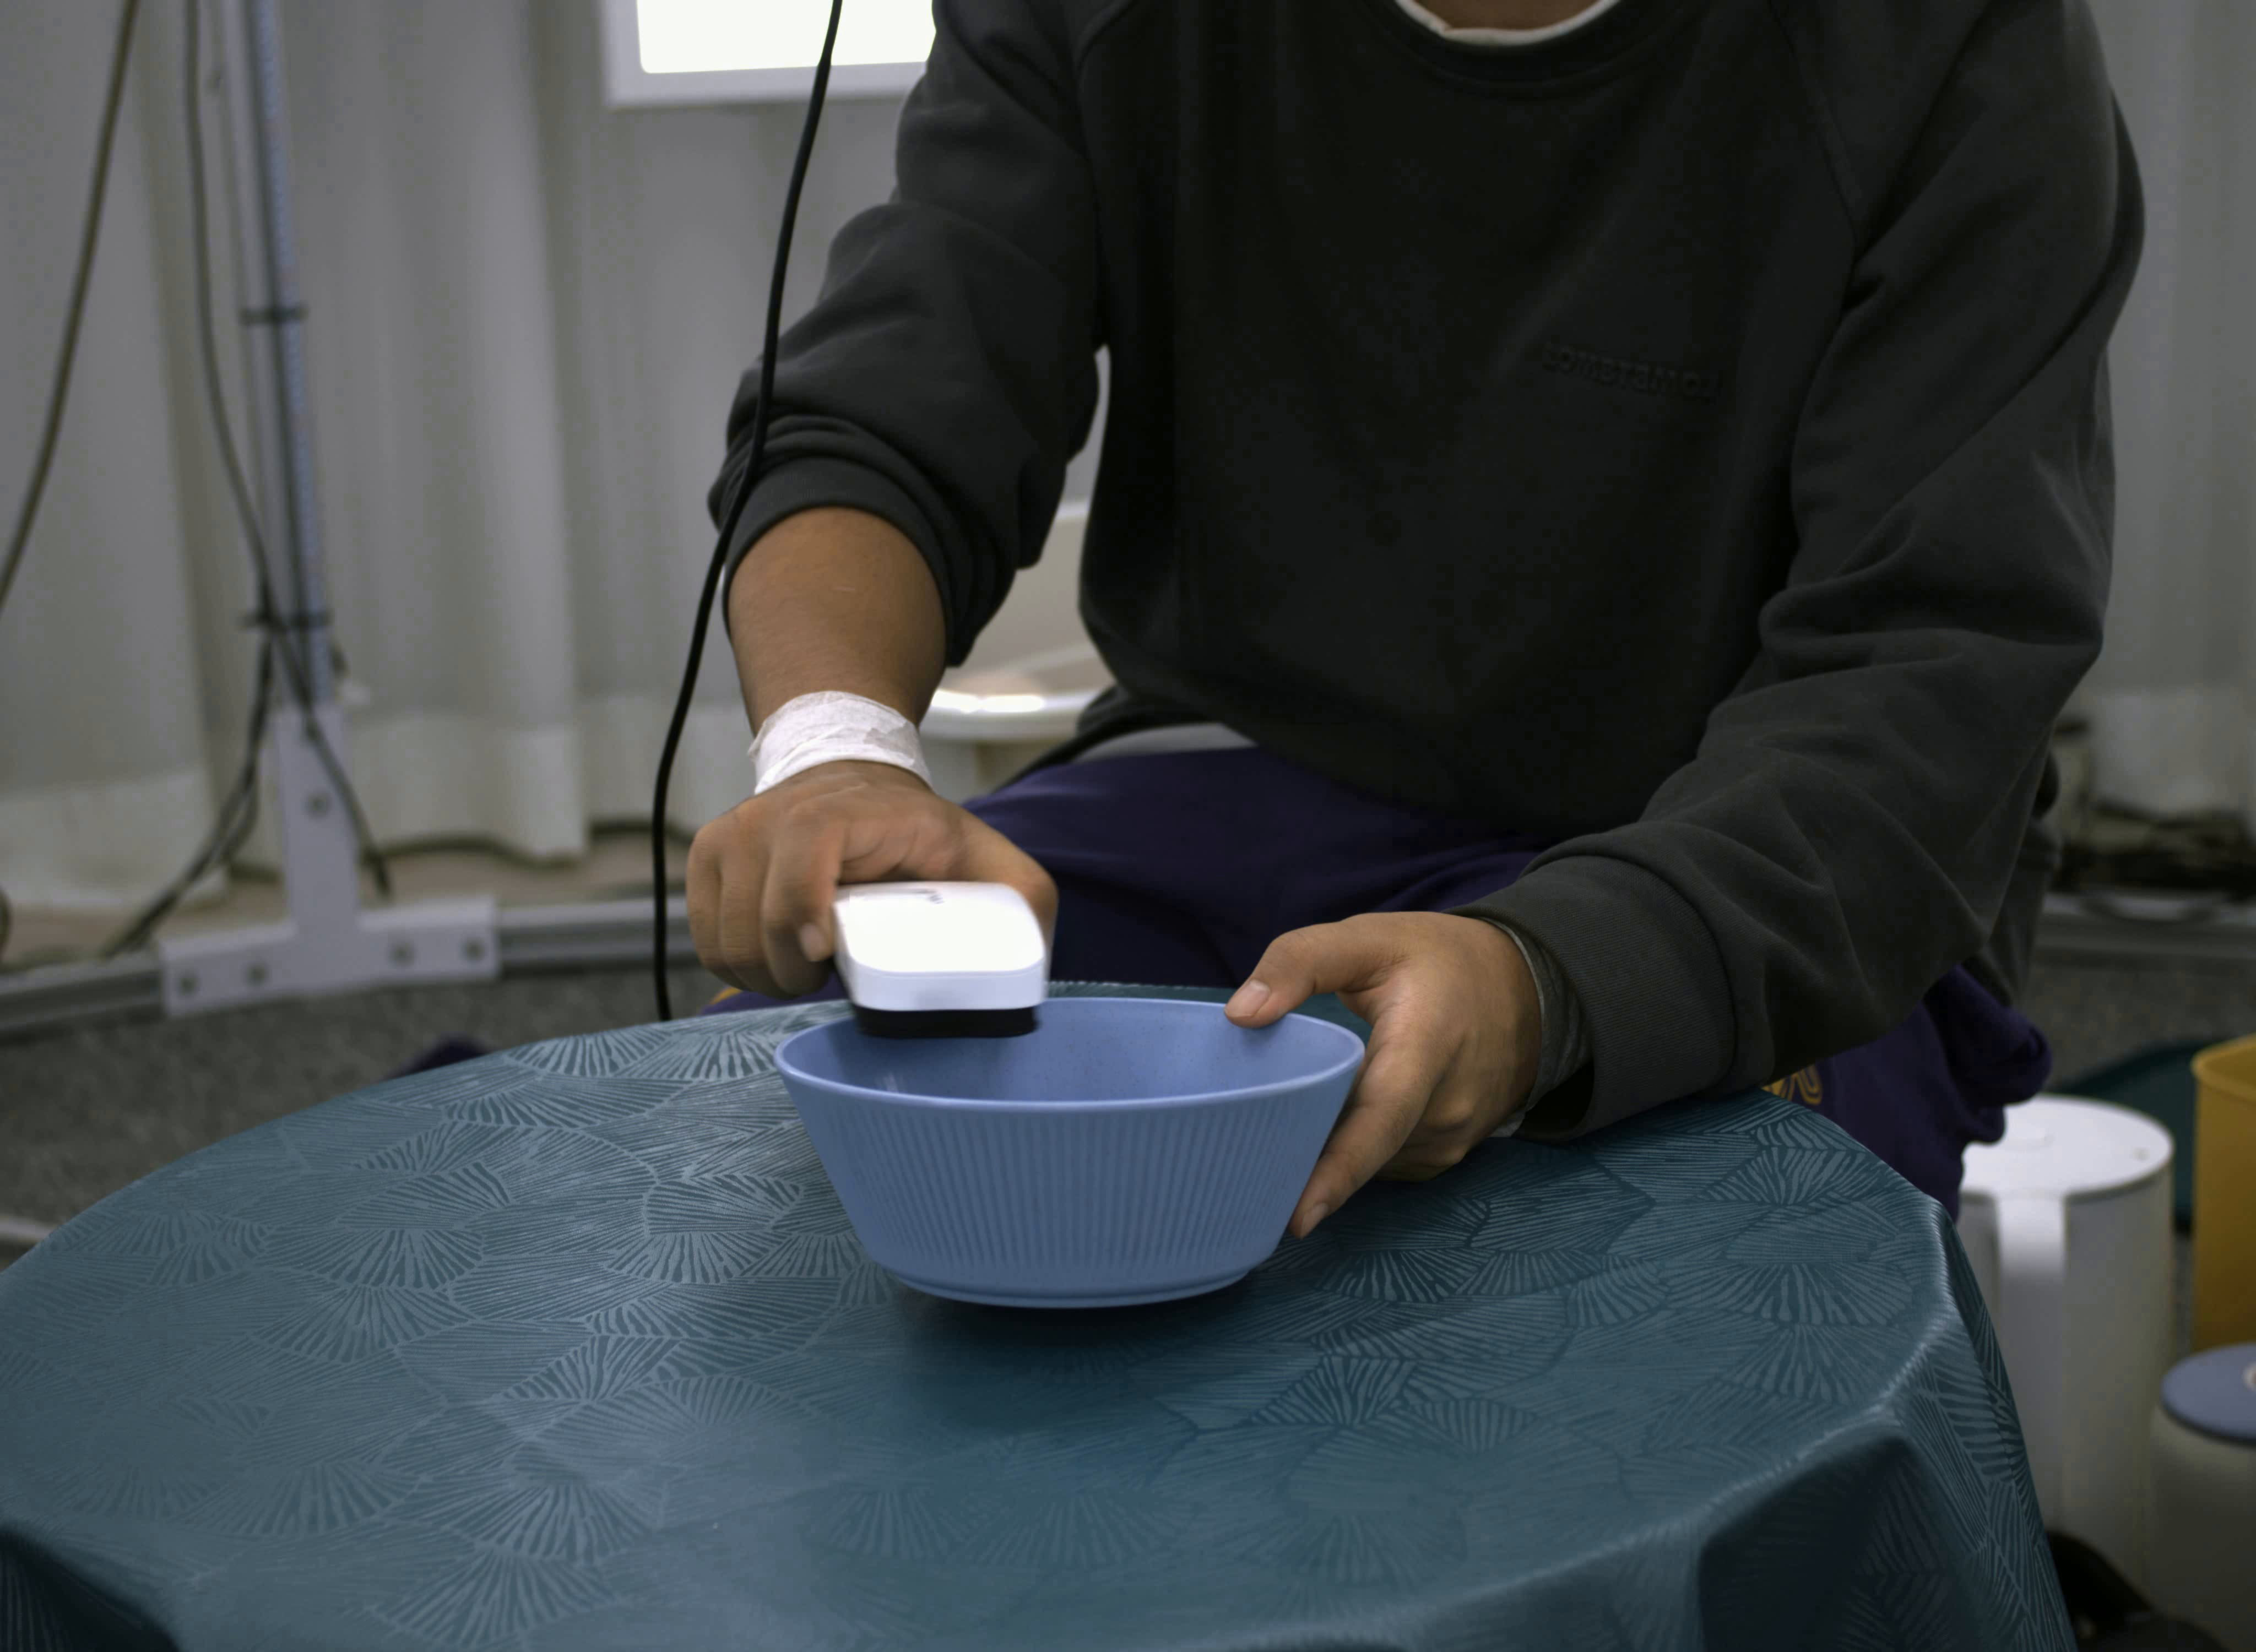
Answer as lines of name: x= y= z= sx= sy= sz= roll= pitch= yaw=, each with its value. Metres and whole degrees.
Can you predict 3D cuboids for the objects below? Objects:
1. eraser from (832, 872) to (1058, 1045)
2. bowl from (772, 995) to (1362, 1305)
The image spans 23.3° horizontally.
eraser: x=-0.057 y=0.037 z=1.706 sx=0.063 sy=0.034 sz=0.132 roll=1 pitch=12 yaw=-8
bowl: x=-0.018 y=0.097 z=1.624 sx=0.175 sy=0.070 sz=0.177 roll=0 pitch=8 yaw=0
